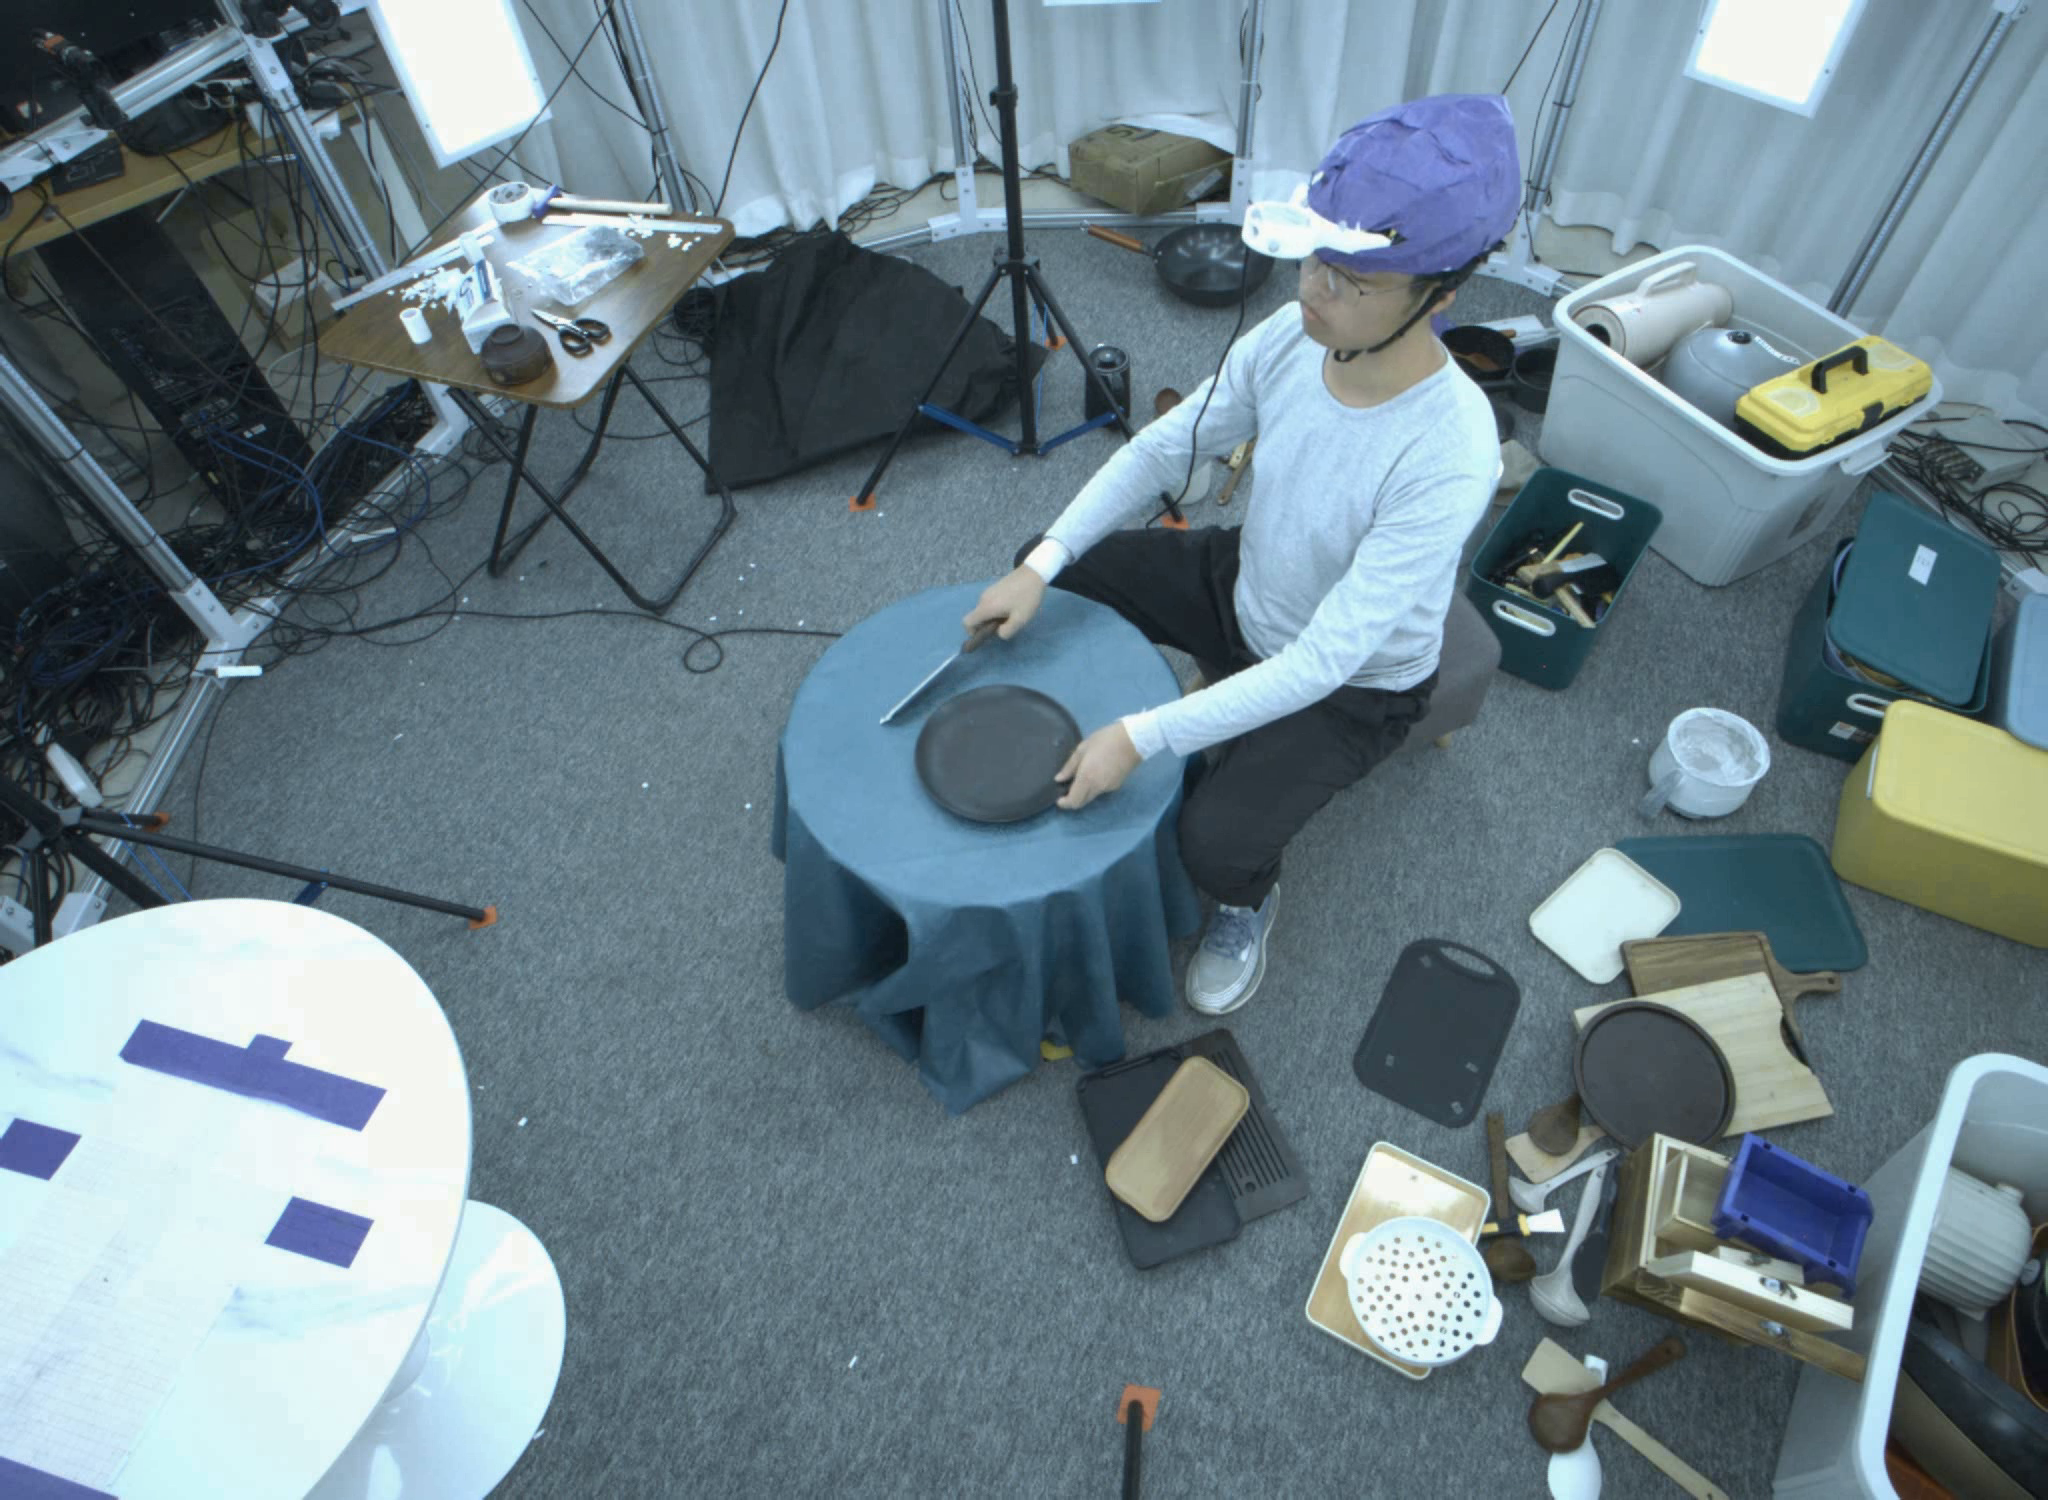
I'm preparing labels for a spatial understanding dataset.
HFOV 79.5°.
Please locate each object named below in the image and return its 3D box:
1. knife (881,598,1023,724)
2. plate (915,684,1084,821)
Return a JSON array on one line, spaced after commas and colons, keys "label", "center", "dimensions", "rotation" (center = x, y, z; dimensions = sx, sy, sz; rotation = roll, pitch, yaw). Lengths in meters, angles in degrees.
[{"label": "knife", "center": [-0.109, -0.134, 1.859], "dimensions": [0.290, 0.049, 0.020], "rotation": [-43, 106, -15]}, {"label": "plate", "center": [-0.036, 0.005, 1.778], "dimensions": [0.244, 0.023, 0.242], "rotation": [0, 54, 1]}]
